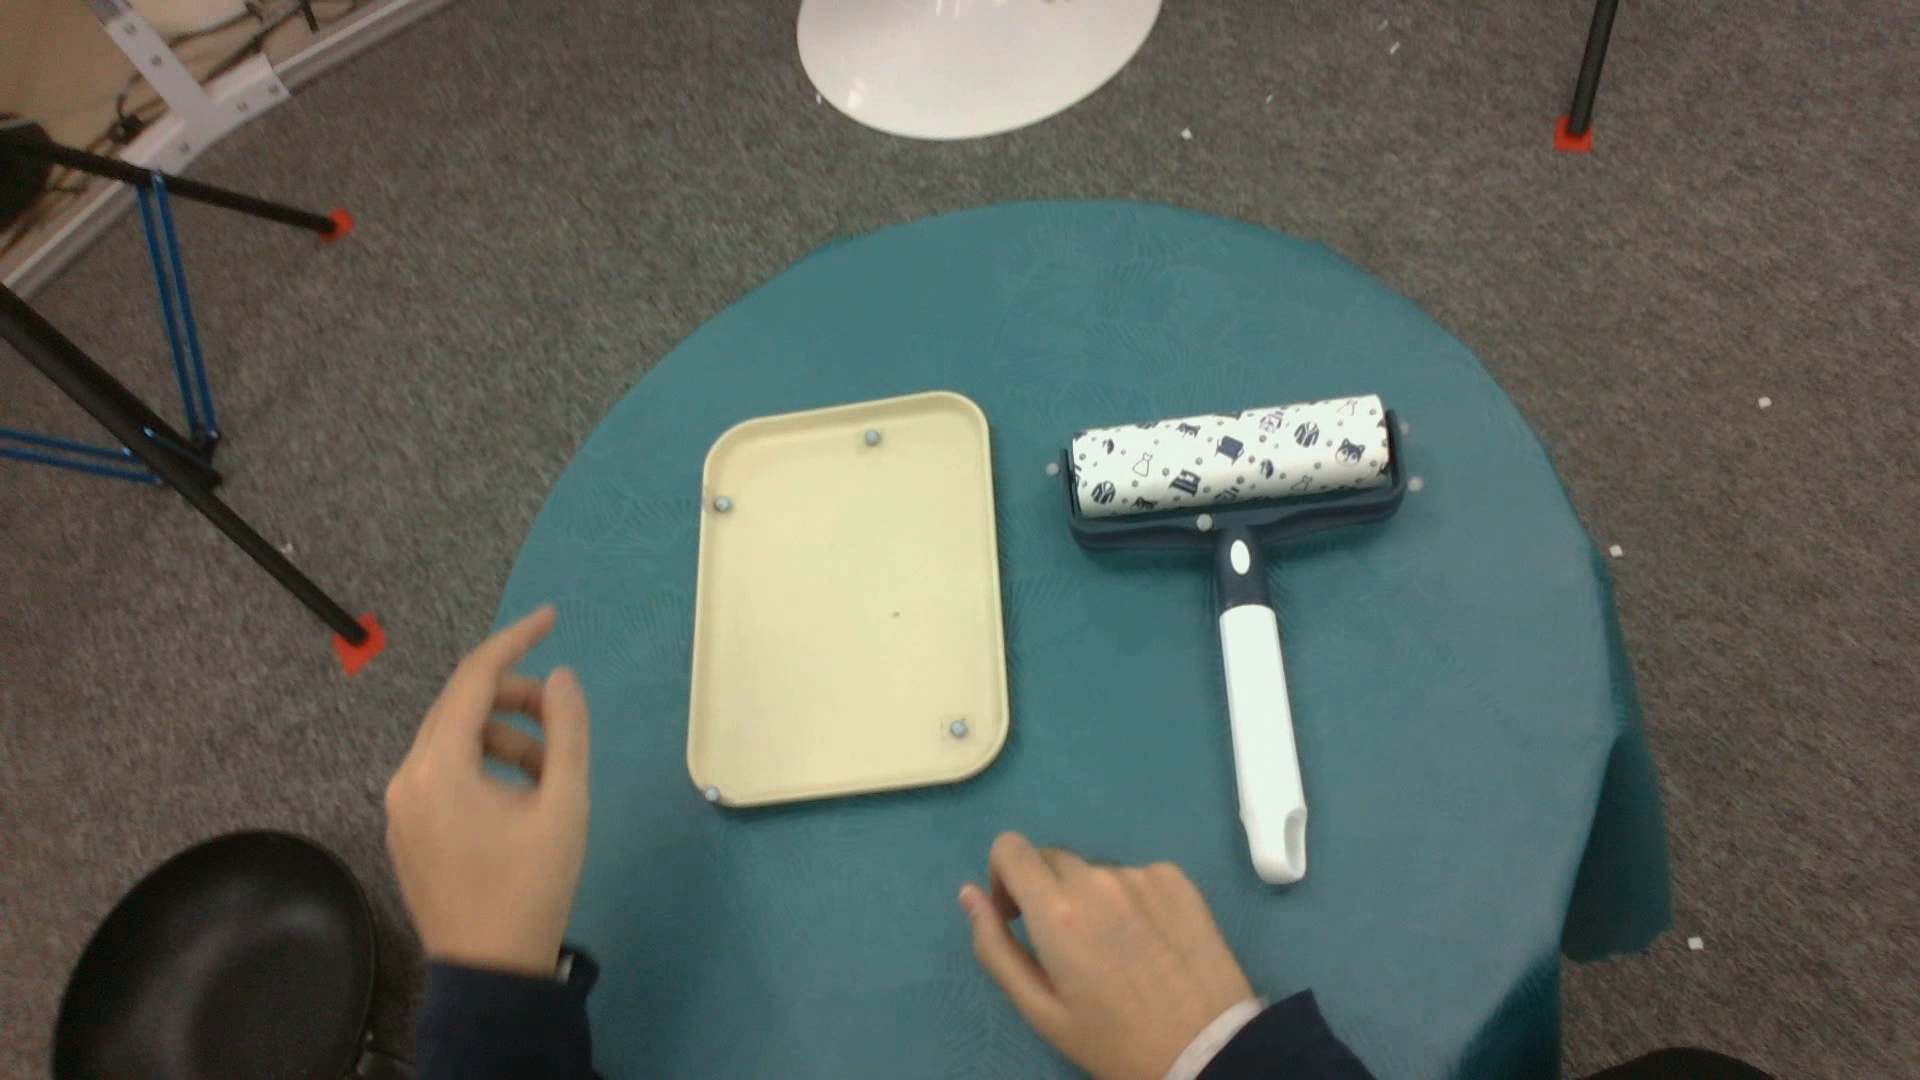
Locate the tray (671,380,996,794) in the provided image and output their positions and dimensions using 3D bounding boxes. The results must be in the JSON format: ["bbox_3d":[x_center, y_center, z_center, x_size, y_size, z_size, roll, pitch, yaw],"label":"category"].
[{"bbox_3d":[-0.070,0.020,0.752,0.171,0.017,0.240,-7,59,6],"label":"tray"}]

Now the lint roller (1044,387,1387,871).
[{"bbox_3d":[0.139,0.038,0.686,0.176,0.050,0.248,-7,61,6],"label":"lint roller"}]
